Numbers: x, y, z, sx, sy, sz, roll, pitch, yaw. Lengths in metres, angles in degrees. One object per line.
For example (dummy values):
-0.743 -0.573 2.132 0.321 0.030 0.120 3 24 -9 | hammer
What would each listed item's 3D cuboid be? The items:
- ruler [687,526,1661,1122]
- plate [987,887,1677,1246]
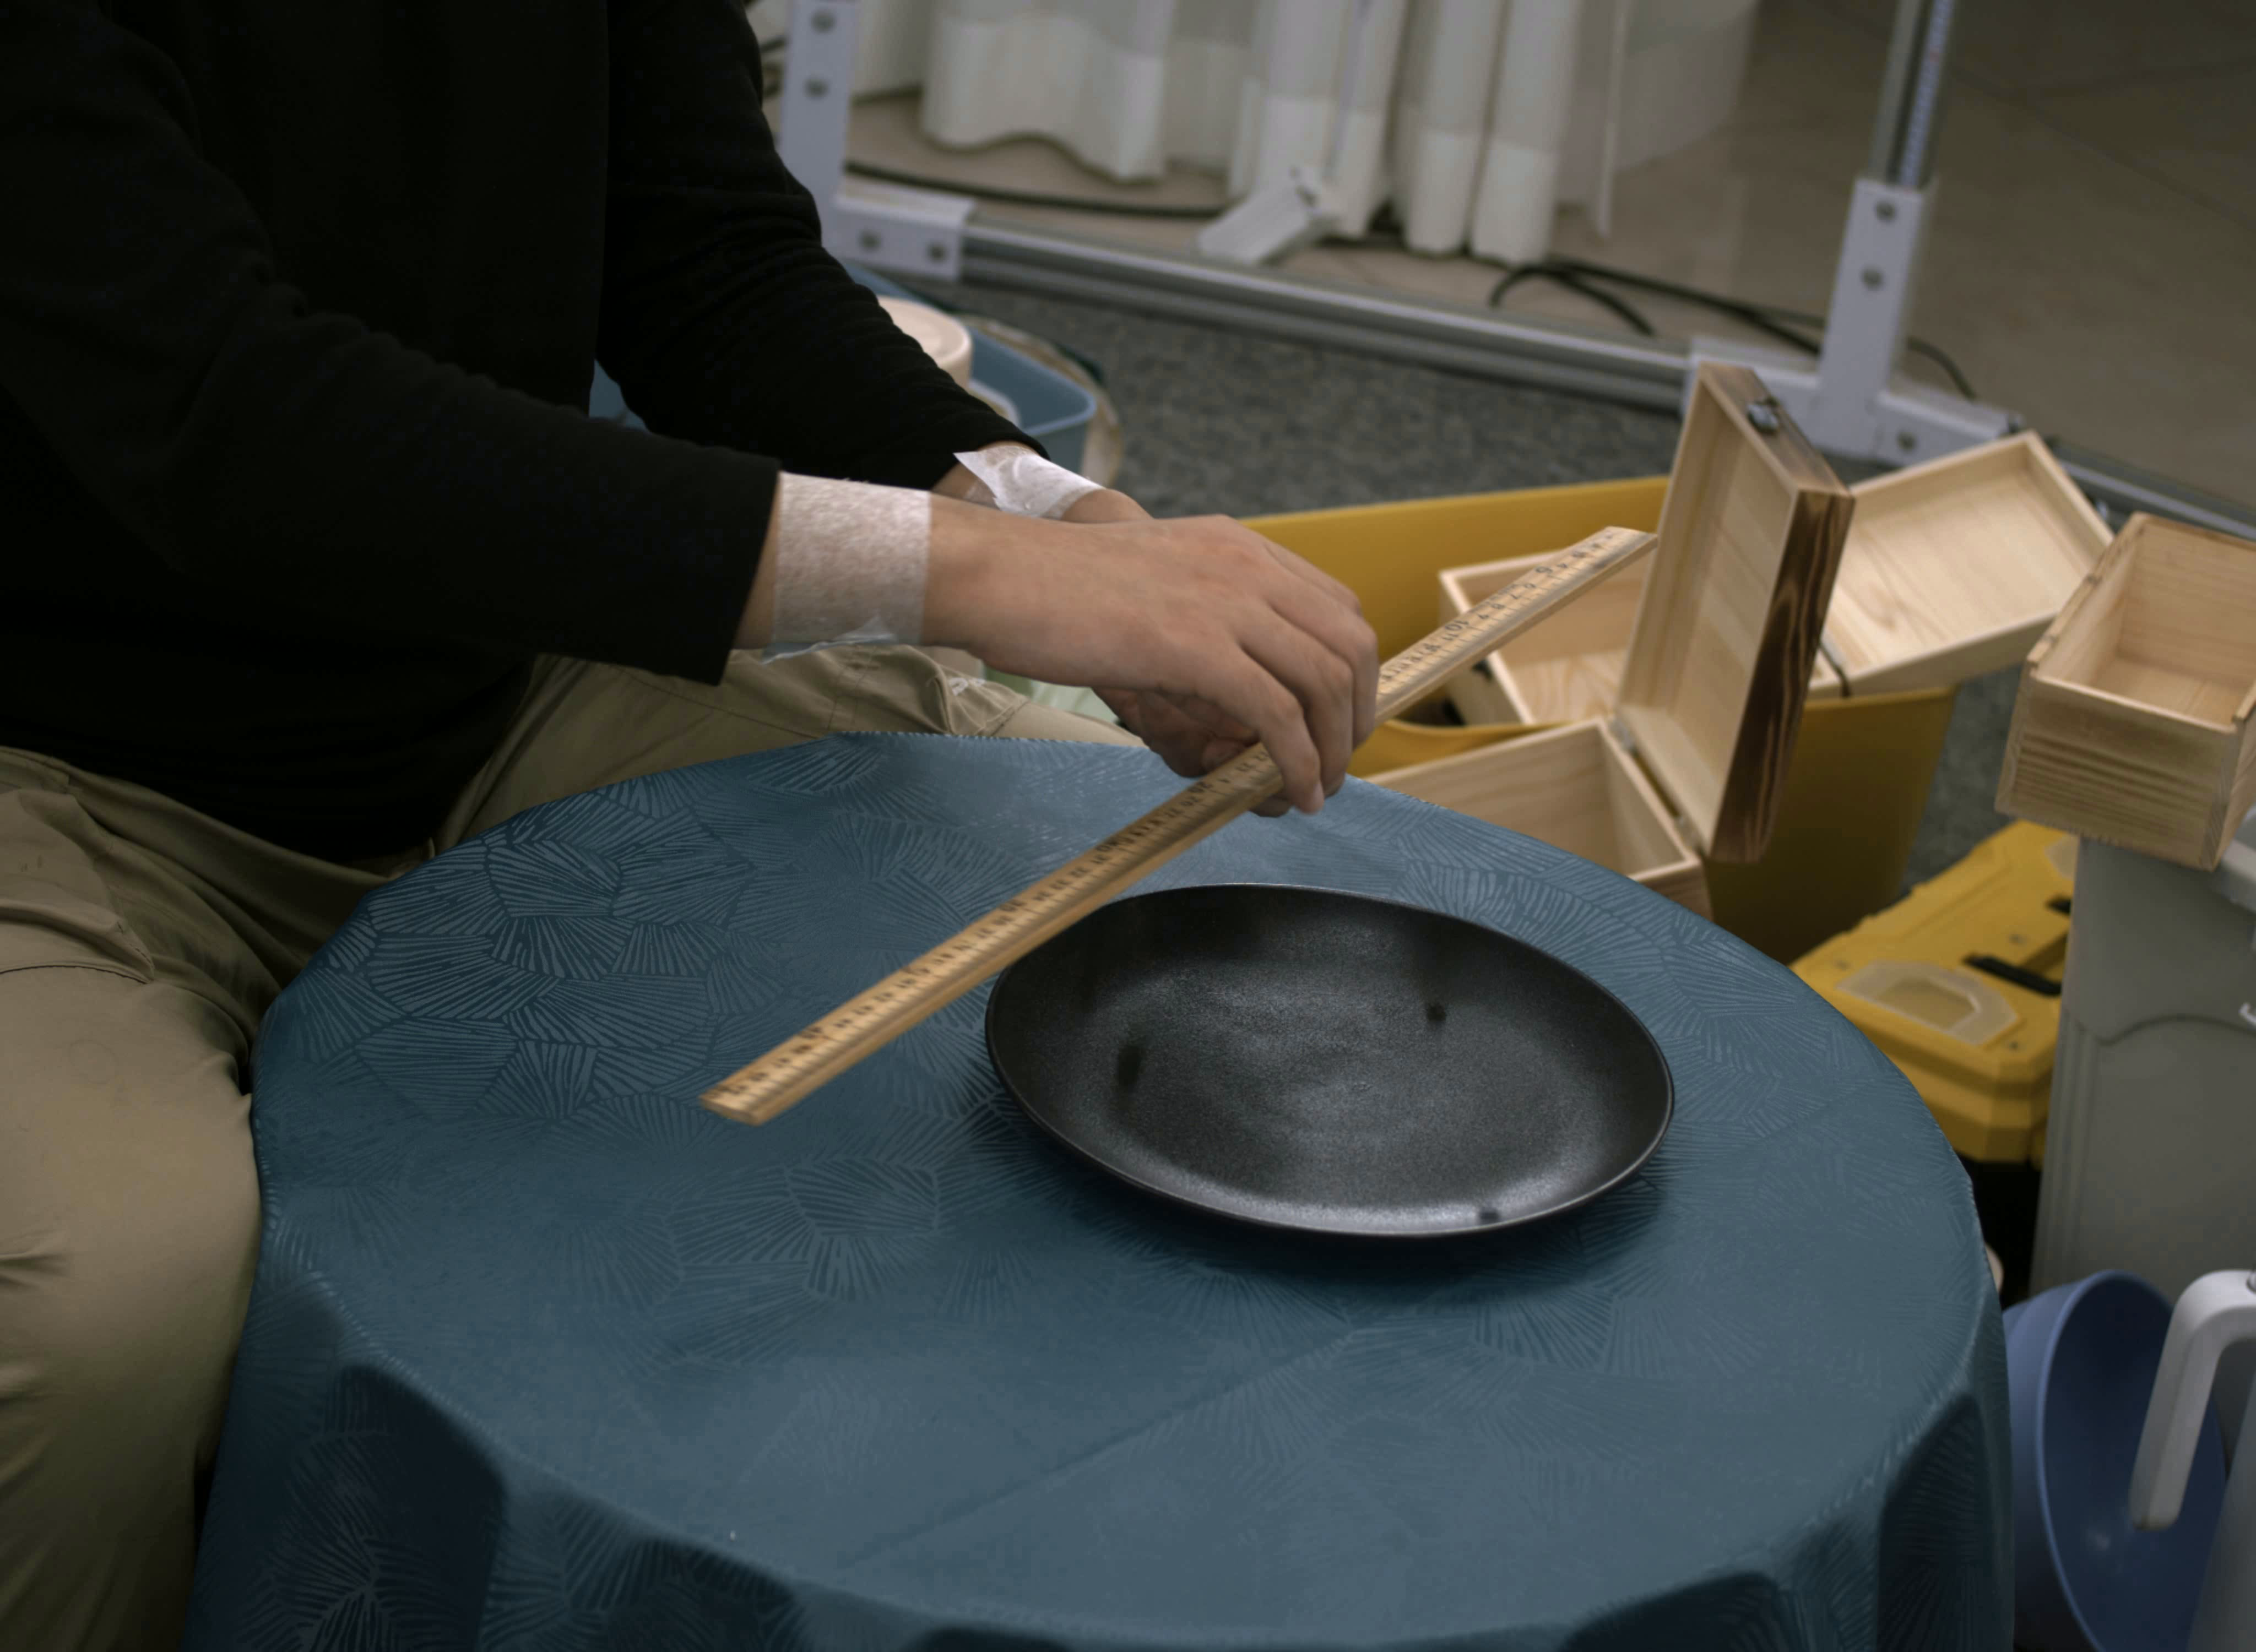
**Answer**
0.029 -0.010 1.848 0.027 0.006 0.499 14 33 40 | ruler
0.070 0.087 1.863 0.243 0.023 0.246 5 27 -3 | plate
